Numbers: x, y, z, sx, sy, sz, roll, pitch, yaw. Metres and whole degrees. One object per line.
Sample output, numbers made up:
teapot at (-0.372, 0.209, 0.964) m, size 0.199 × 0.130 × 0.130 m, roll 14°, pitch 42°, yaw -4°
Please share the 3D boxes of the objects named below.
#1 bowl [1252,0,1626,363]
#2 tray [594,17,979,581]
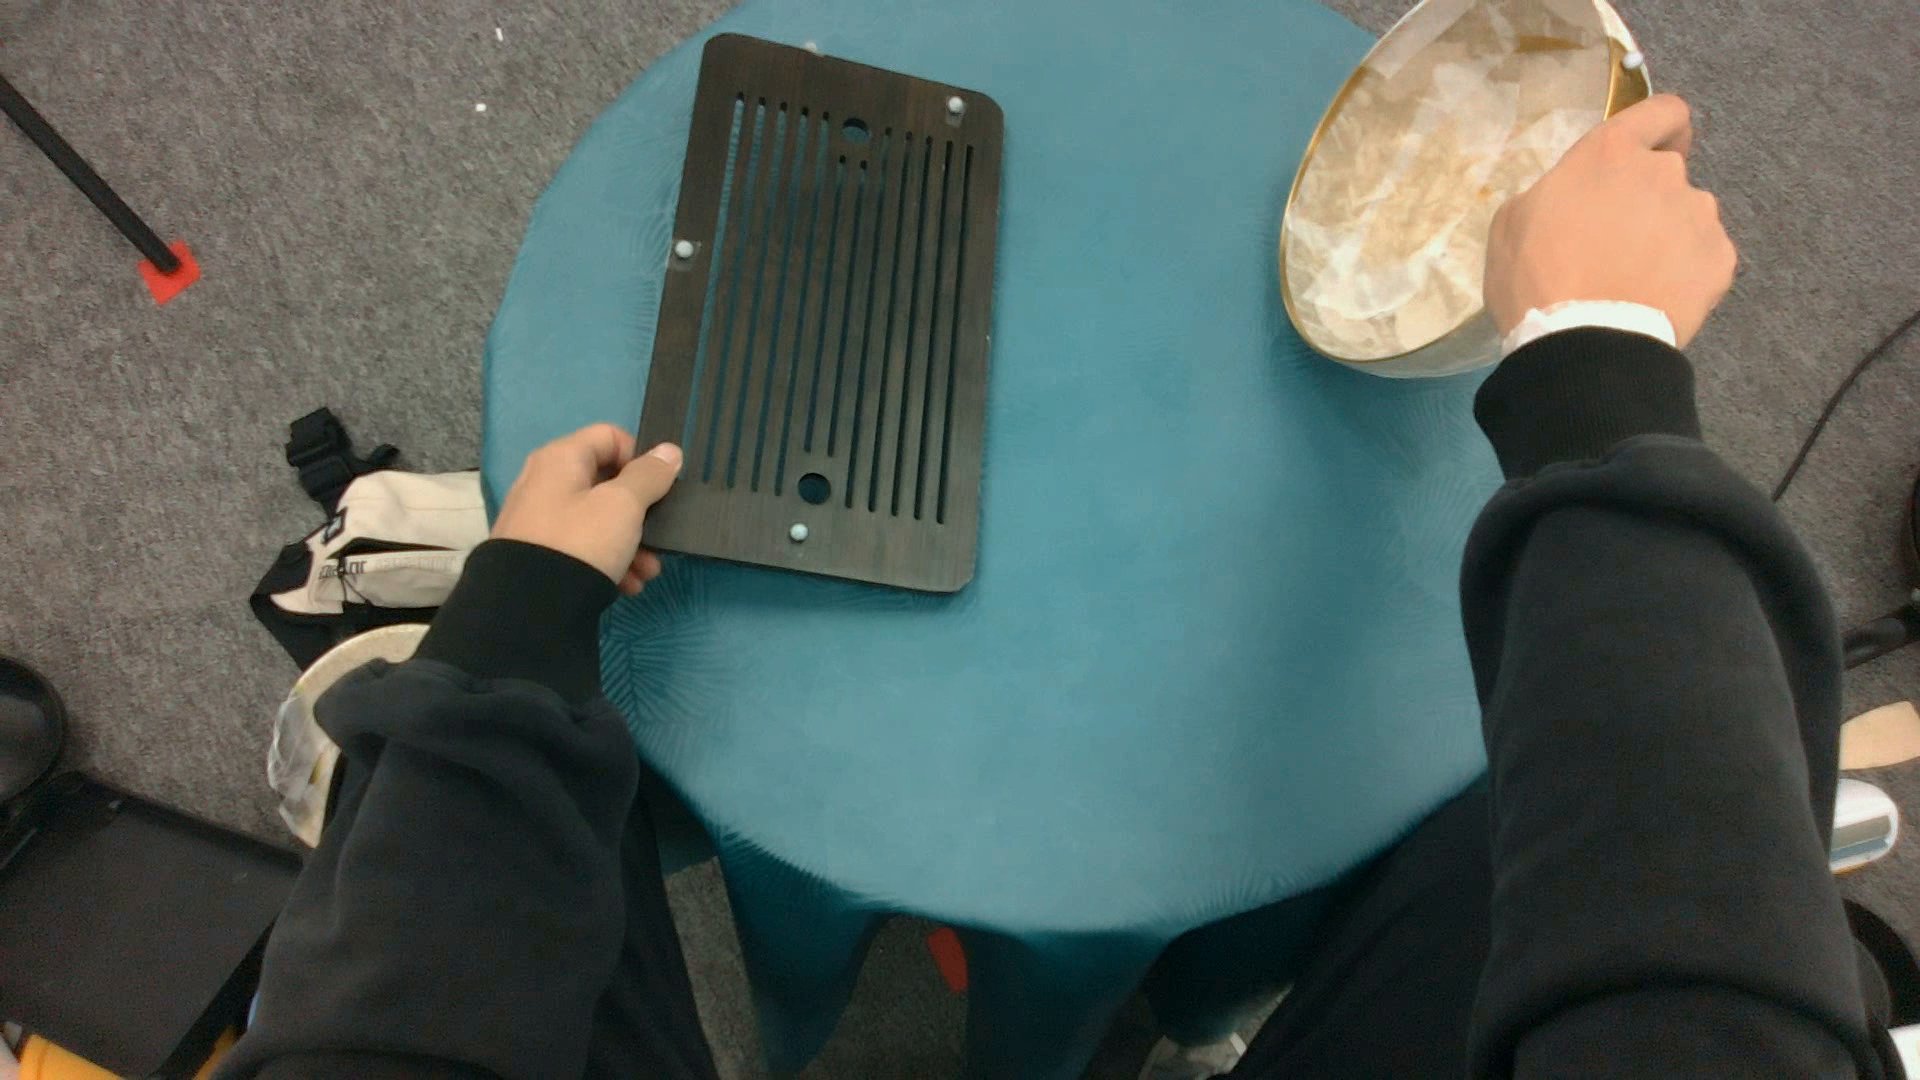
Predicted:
bowl at (0.249, -0.173, 0.697) m, size 0.094 × 0.214 × 0.215 m, roll 19°, pitch 64°, yaw -29°
tray at (-0.081, -0.131, 0.714) m, size 0.170 × 0.018 × 0.307 m, roll 10°, pitch 67°, yaw -13°
